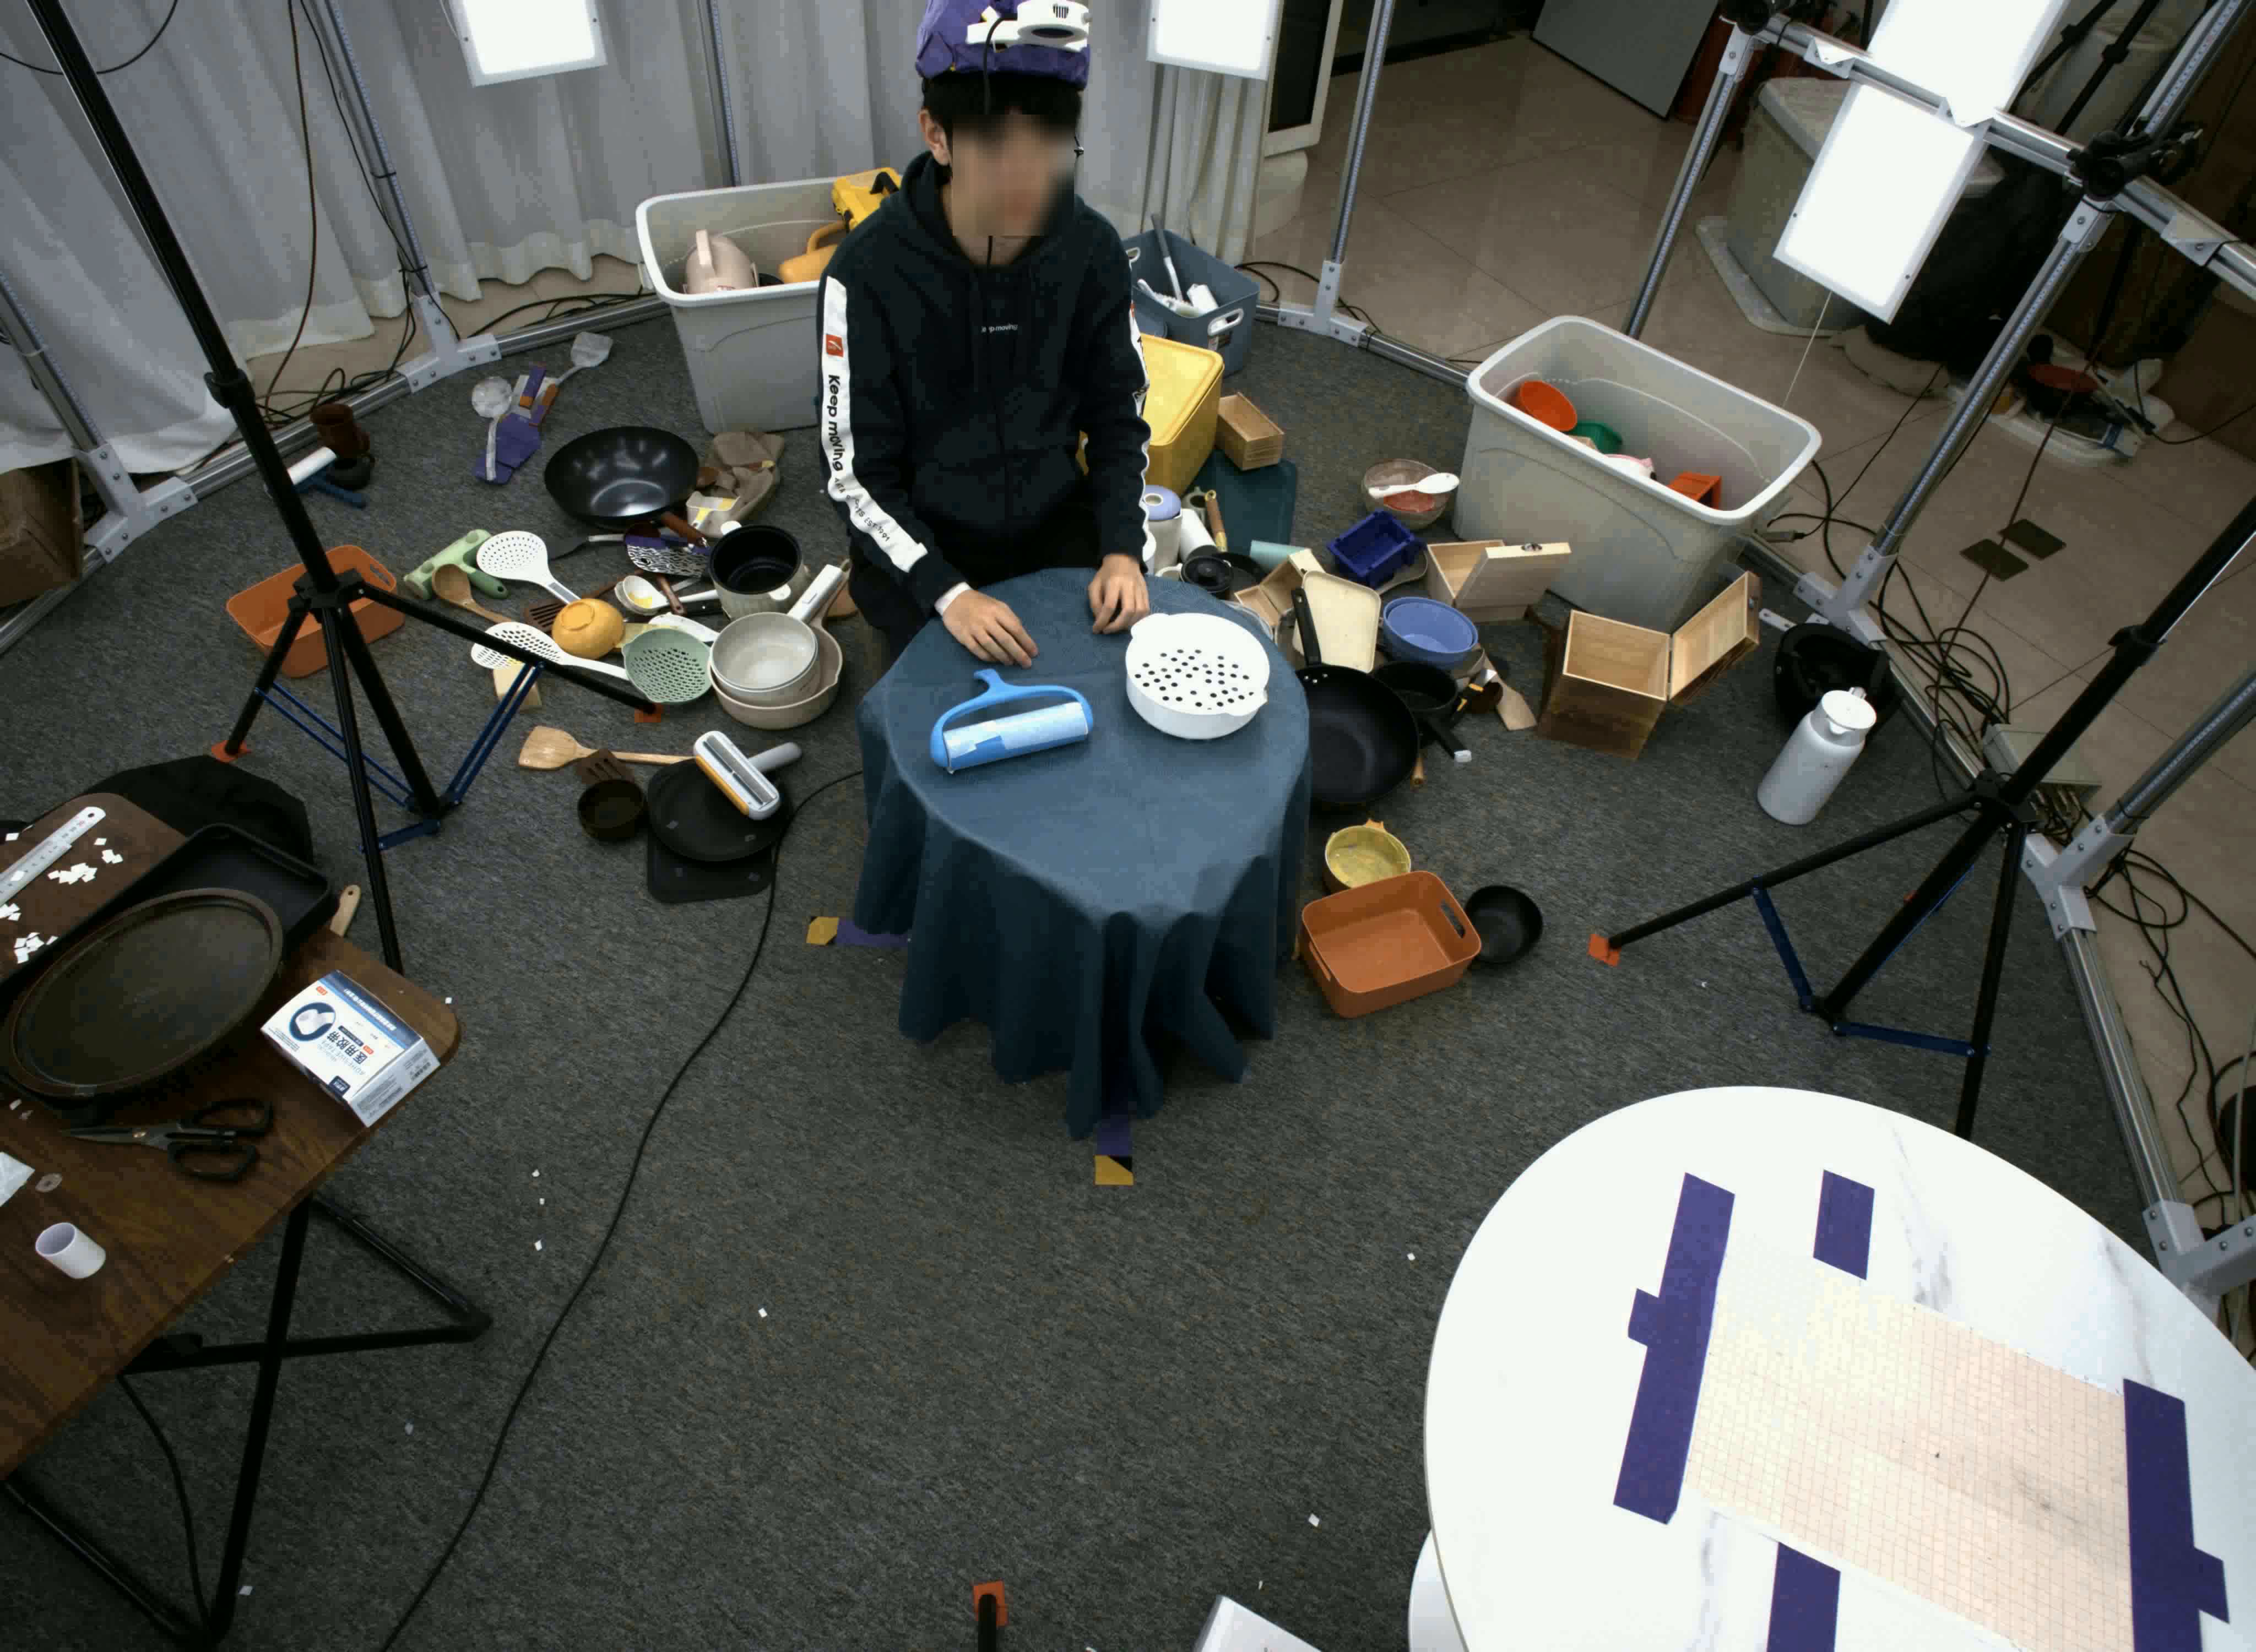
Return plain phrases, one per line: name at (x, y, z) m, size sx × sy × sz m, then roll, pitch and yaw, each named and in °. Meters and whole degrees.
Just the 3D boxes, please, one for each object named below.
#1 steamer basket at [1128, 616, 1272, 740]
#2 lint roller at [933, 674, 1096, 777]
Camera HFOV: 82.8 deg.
steamer basket at (0.099, -0.207, 1.810) m, size 0.203 × 0.067 × 0.234 m, roll -32°, pitch 57°, yaw -28°
lint roller at (-0.176, -0.162, 1.761) m, size 0.229 × 0.066 × 0.184 m, roll -19°, pitch 54°, yaw -16°
